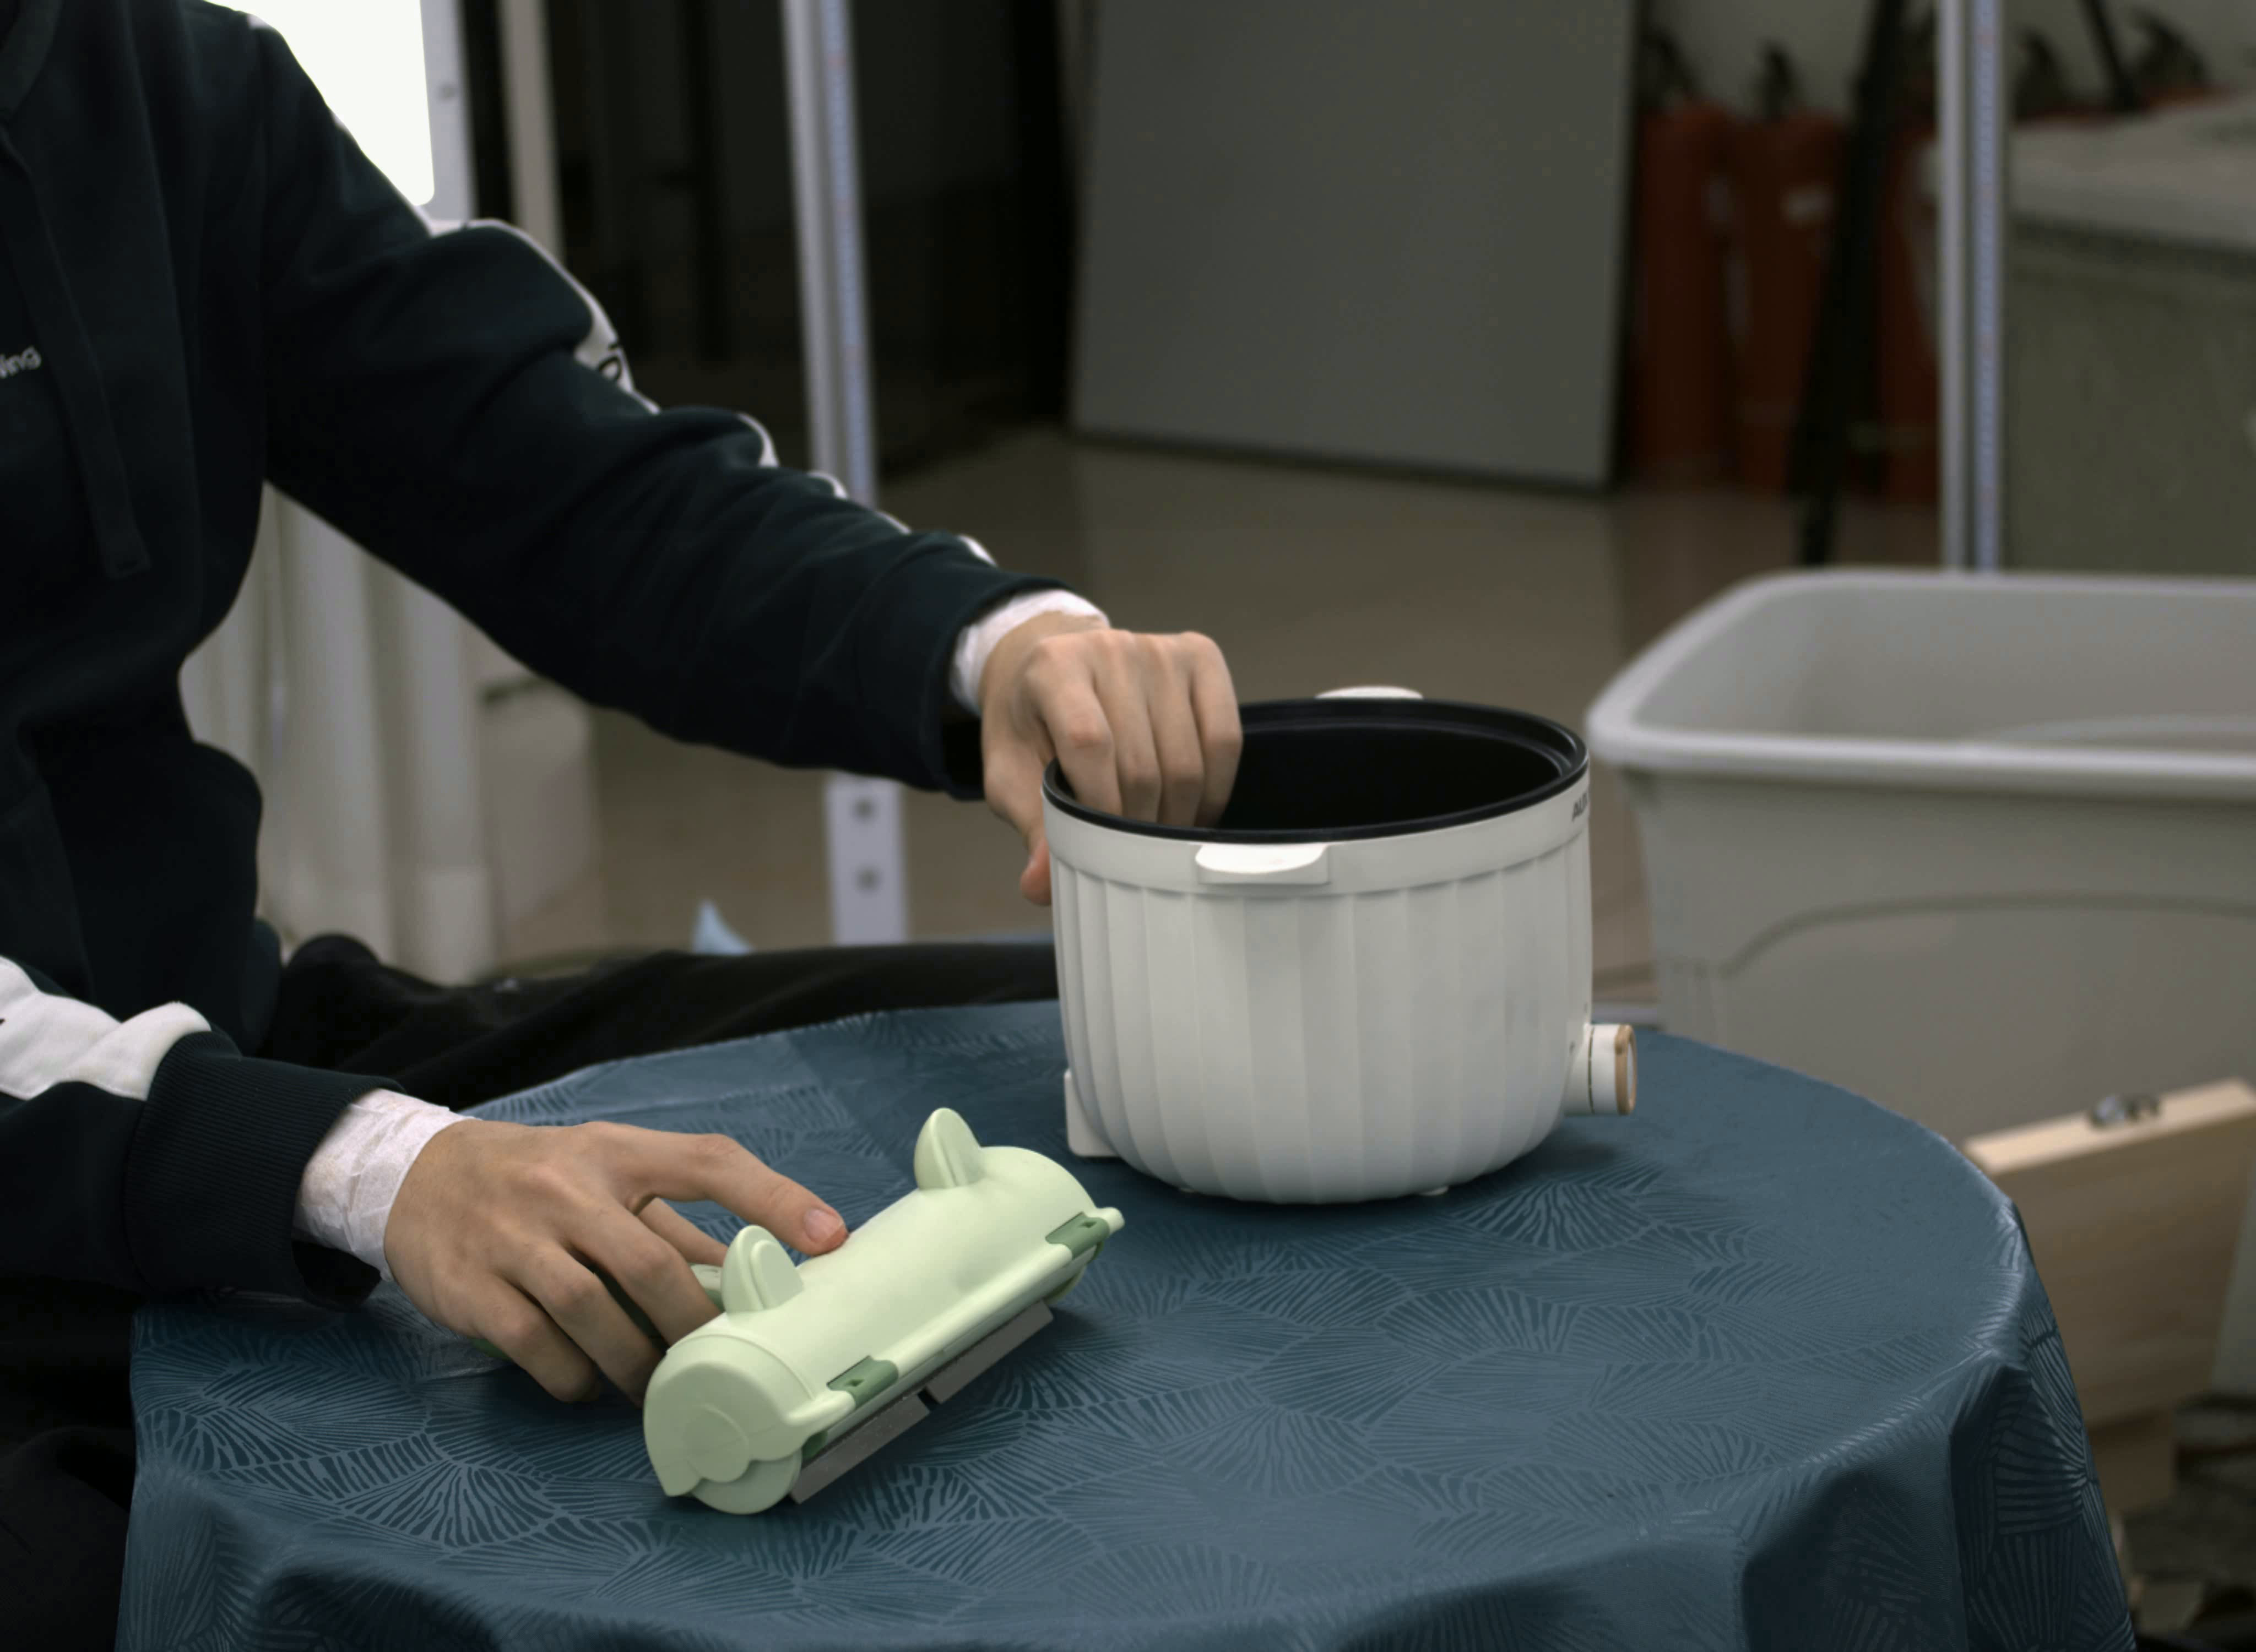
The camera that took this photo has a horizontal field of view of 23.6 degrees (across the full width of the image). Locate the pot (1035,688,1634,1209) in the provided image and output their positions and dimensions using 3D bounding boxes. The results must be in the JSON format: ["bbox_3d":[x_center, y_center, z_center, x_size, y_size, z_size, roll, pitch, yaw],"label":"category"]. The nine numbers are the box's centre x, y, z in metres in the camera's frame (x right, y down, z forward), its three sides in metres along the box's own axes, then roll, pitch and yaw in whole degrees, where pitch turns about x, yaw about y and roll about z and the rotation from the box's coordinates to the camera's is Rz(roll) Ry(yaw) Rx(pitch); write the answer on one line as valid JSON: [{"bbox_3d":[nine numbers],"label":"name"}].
[{"bbox_3d":[0.069,0.042,1.780,0.189,0.144,0.239,-4,14,14],"label":"pot"}]

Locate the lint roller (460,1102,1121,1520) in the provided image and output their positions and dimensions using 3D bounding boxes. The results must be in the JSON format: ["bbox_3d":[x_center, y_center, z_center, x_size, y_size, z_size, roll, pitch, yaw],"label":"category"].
[{"bbox_3d":[-0.122,0.131,1.608,0.184,0.083,0.196,9,19,26],"label":"lint roller"}]
